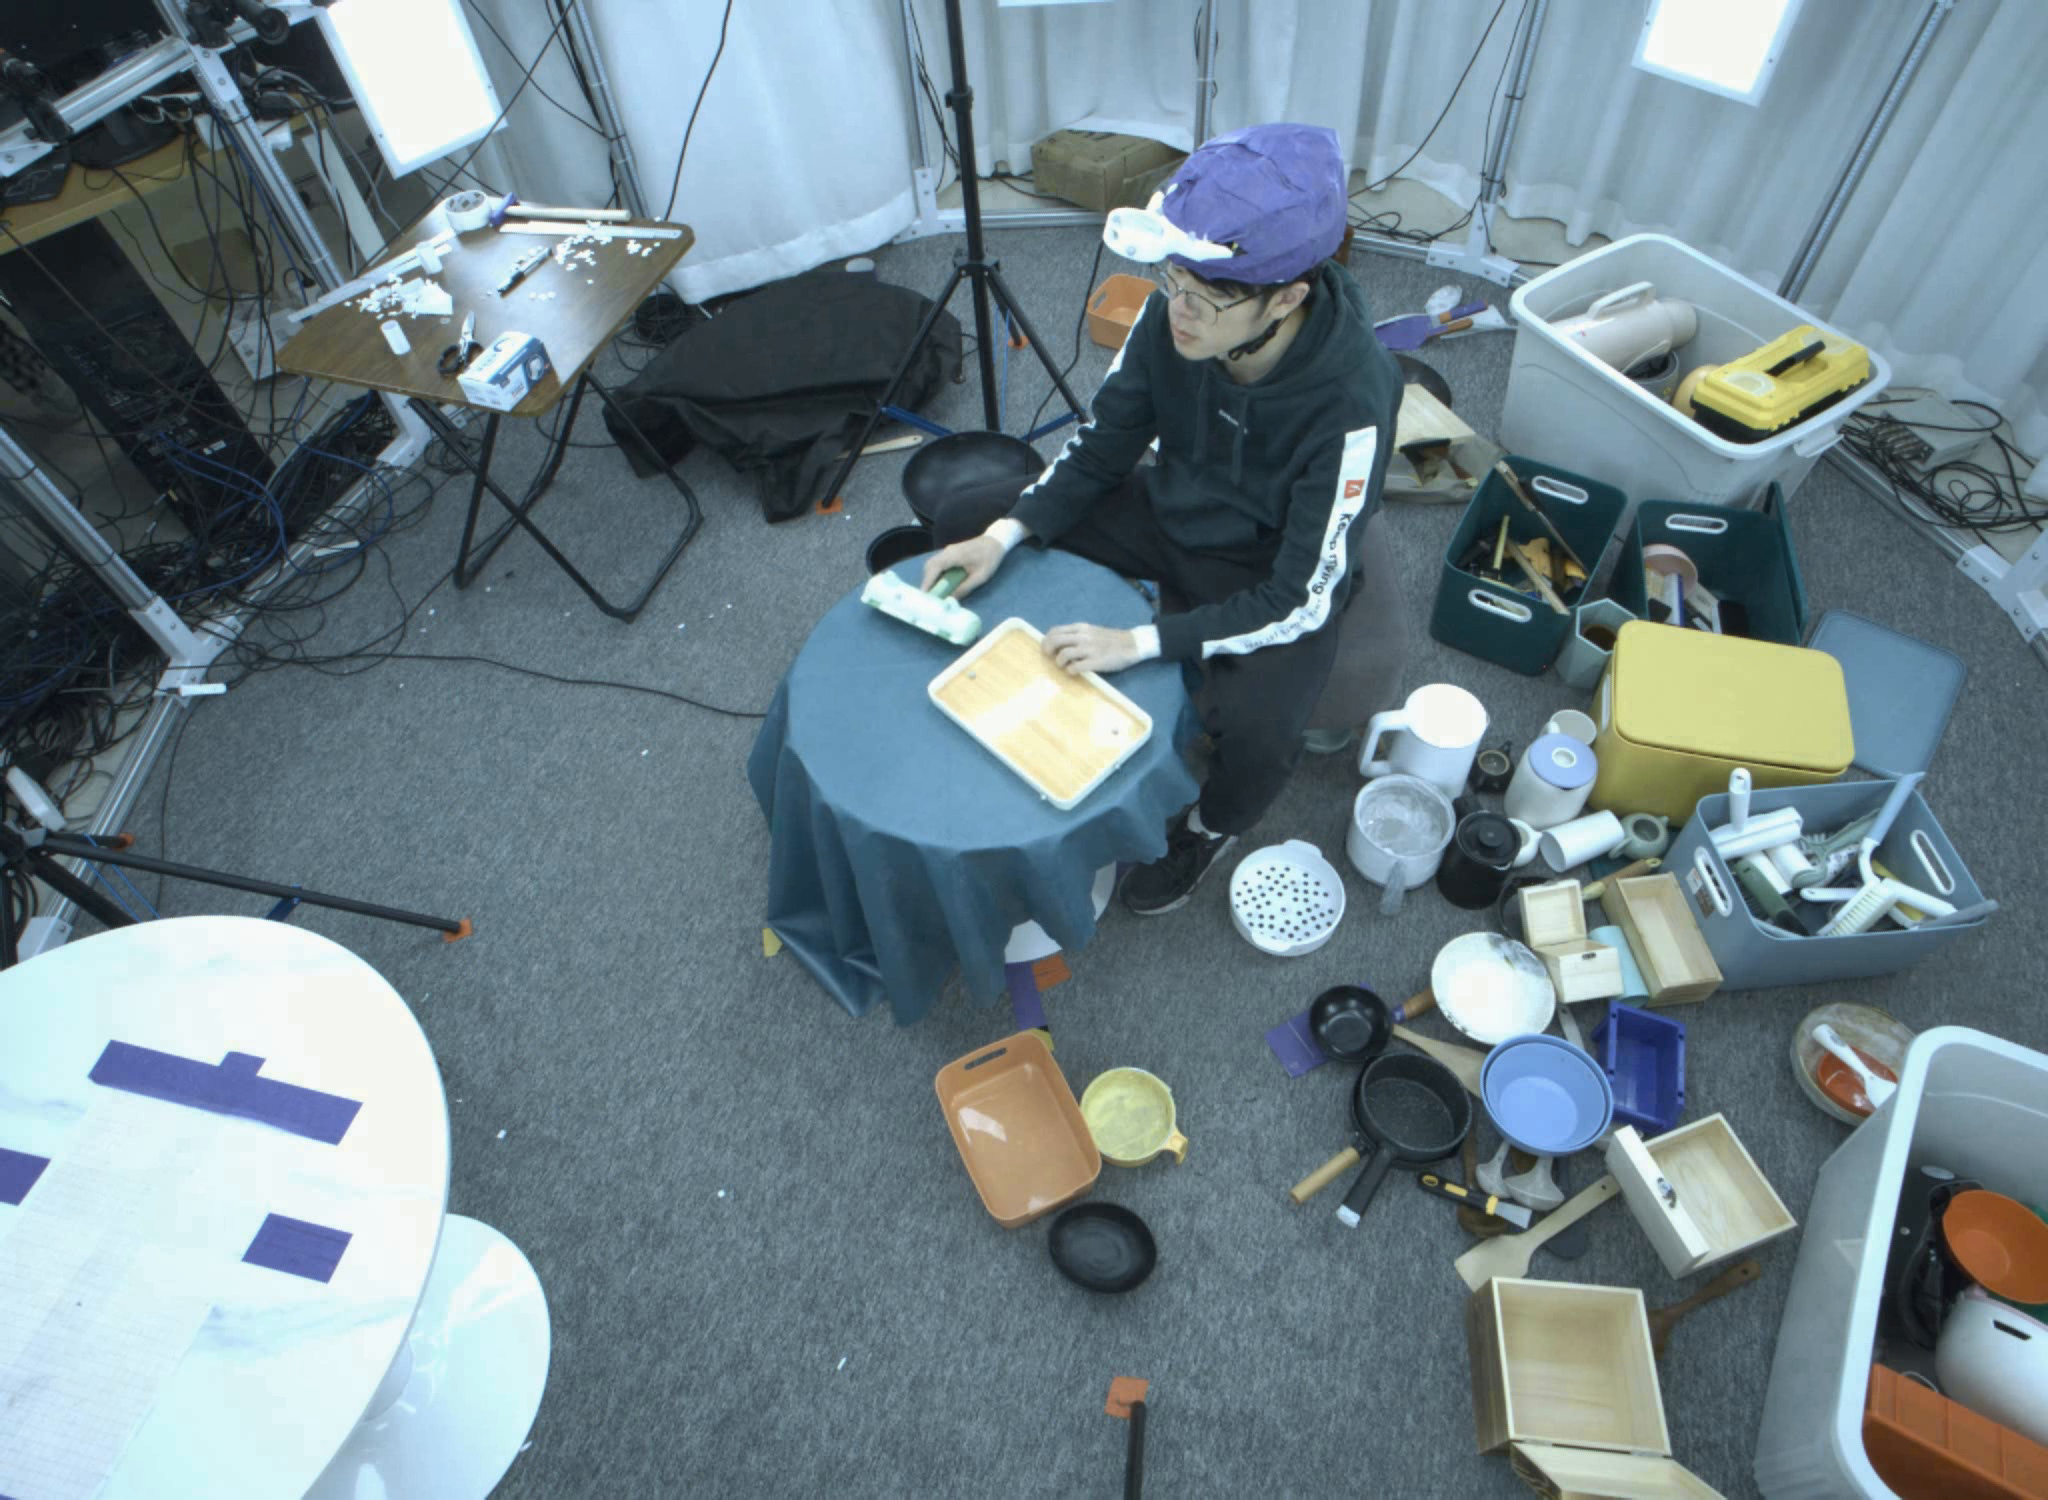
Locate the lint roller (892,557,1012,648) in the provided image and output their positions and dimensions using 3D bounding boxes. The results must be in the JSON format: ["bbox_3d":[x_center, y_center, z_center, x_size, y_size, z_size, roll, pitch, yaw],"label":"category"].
[{"bbox_3d":[-0.080,-0.261,1.921,0.195,0.083,0.184,28,64,22],"label":"lint roller"}]

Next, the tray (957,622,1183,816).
[{"bbox_3d":[0.064,-0.051,1.790,0.193,0.028,0.295,-39,63,-19],"label":"tray"}]
